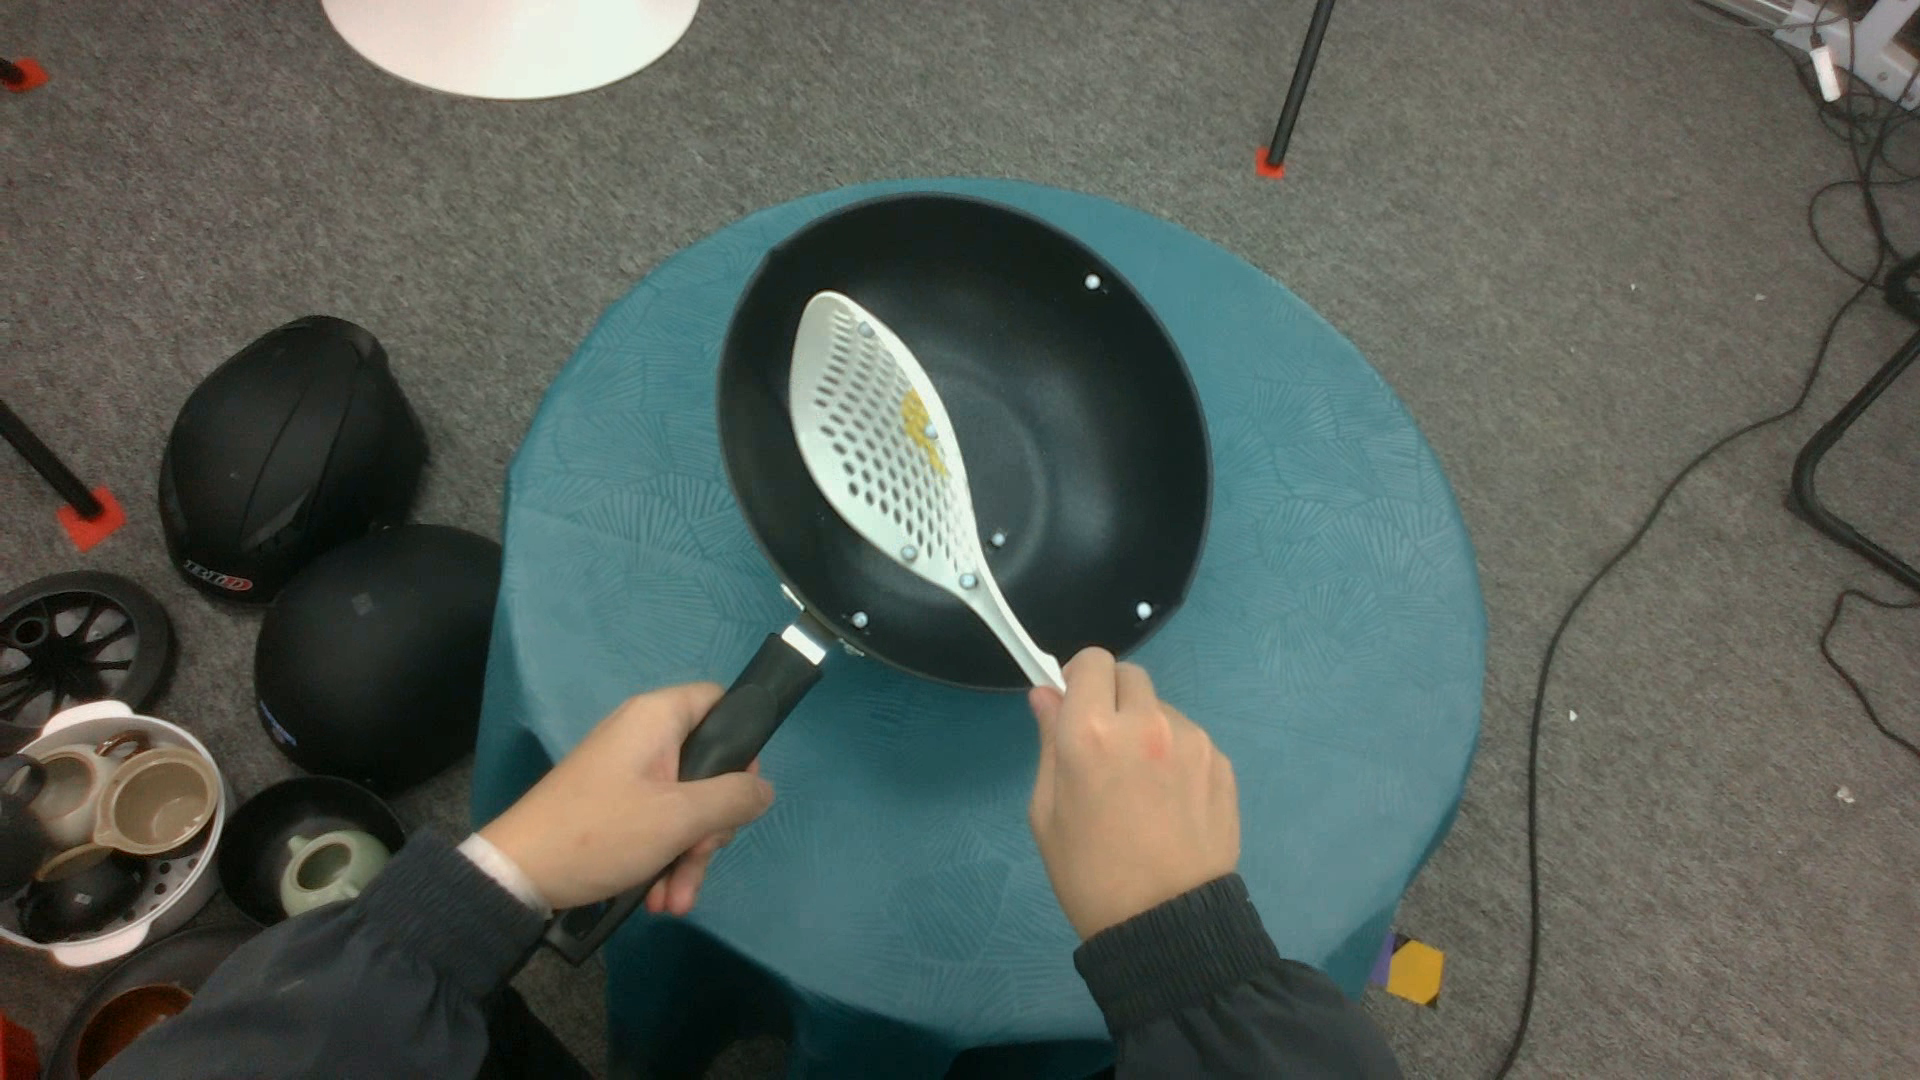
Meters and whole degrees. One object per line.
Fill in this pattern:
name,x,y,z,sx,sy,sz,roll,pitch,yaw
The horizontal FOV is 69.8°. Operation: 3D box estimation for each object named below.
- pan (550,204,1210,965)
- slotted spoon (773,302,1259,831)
pan,-0.052,0.024,0.729,0.288,0.086,0.465,38,64,-5
slotted spoon,0.015,0.016,0.683,0.050,0.136,0.348,-22,61,-30
